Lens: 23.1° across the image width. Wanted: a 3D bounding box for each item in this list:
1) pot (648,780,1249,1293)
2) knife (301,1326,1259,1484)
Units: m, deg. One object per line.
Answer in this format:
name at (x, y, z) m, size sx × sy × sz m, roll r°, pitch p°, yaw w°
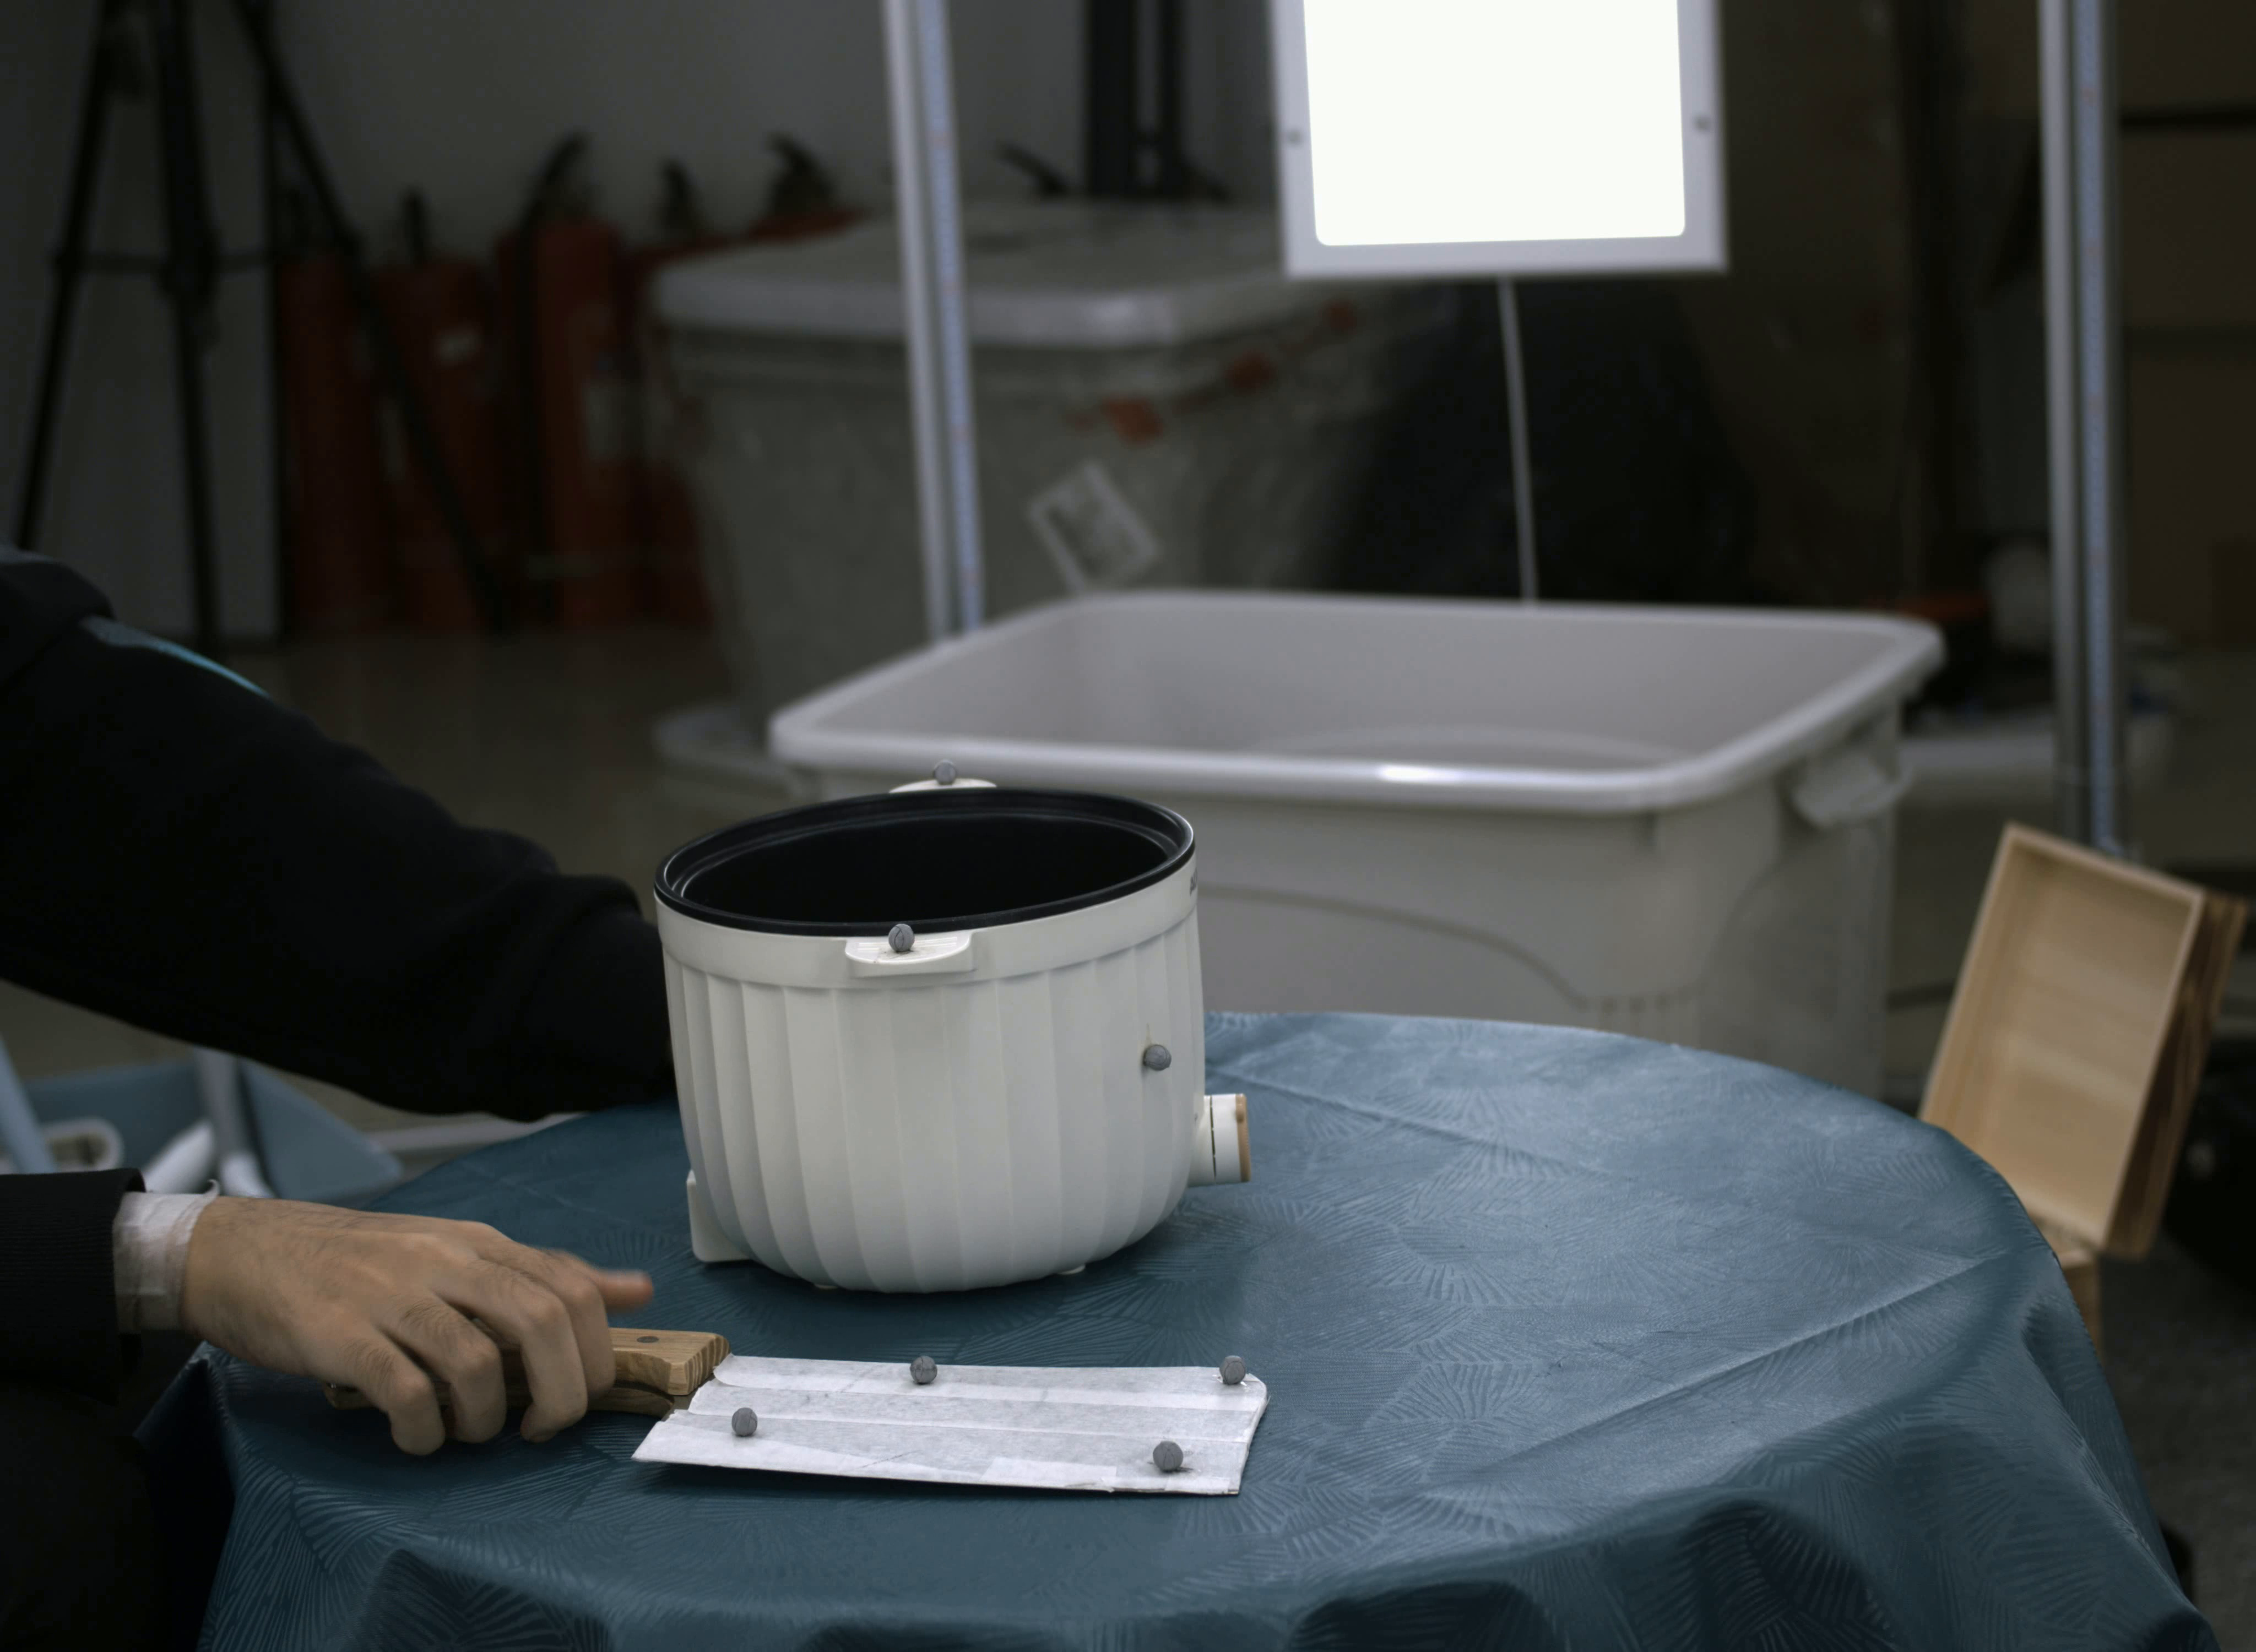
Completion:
pot at (-0.059, 0.072, 1.848) m, size 0.191 × 0.143 × 0.239 m, roll -7°, pitch 15°, yaw 4°
knife at (-0.107, 0.177, 1.695) m, size 0.319 × 0.022 × 0.112 m, roll 2°, pitch 16°, yaw 18°
